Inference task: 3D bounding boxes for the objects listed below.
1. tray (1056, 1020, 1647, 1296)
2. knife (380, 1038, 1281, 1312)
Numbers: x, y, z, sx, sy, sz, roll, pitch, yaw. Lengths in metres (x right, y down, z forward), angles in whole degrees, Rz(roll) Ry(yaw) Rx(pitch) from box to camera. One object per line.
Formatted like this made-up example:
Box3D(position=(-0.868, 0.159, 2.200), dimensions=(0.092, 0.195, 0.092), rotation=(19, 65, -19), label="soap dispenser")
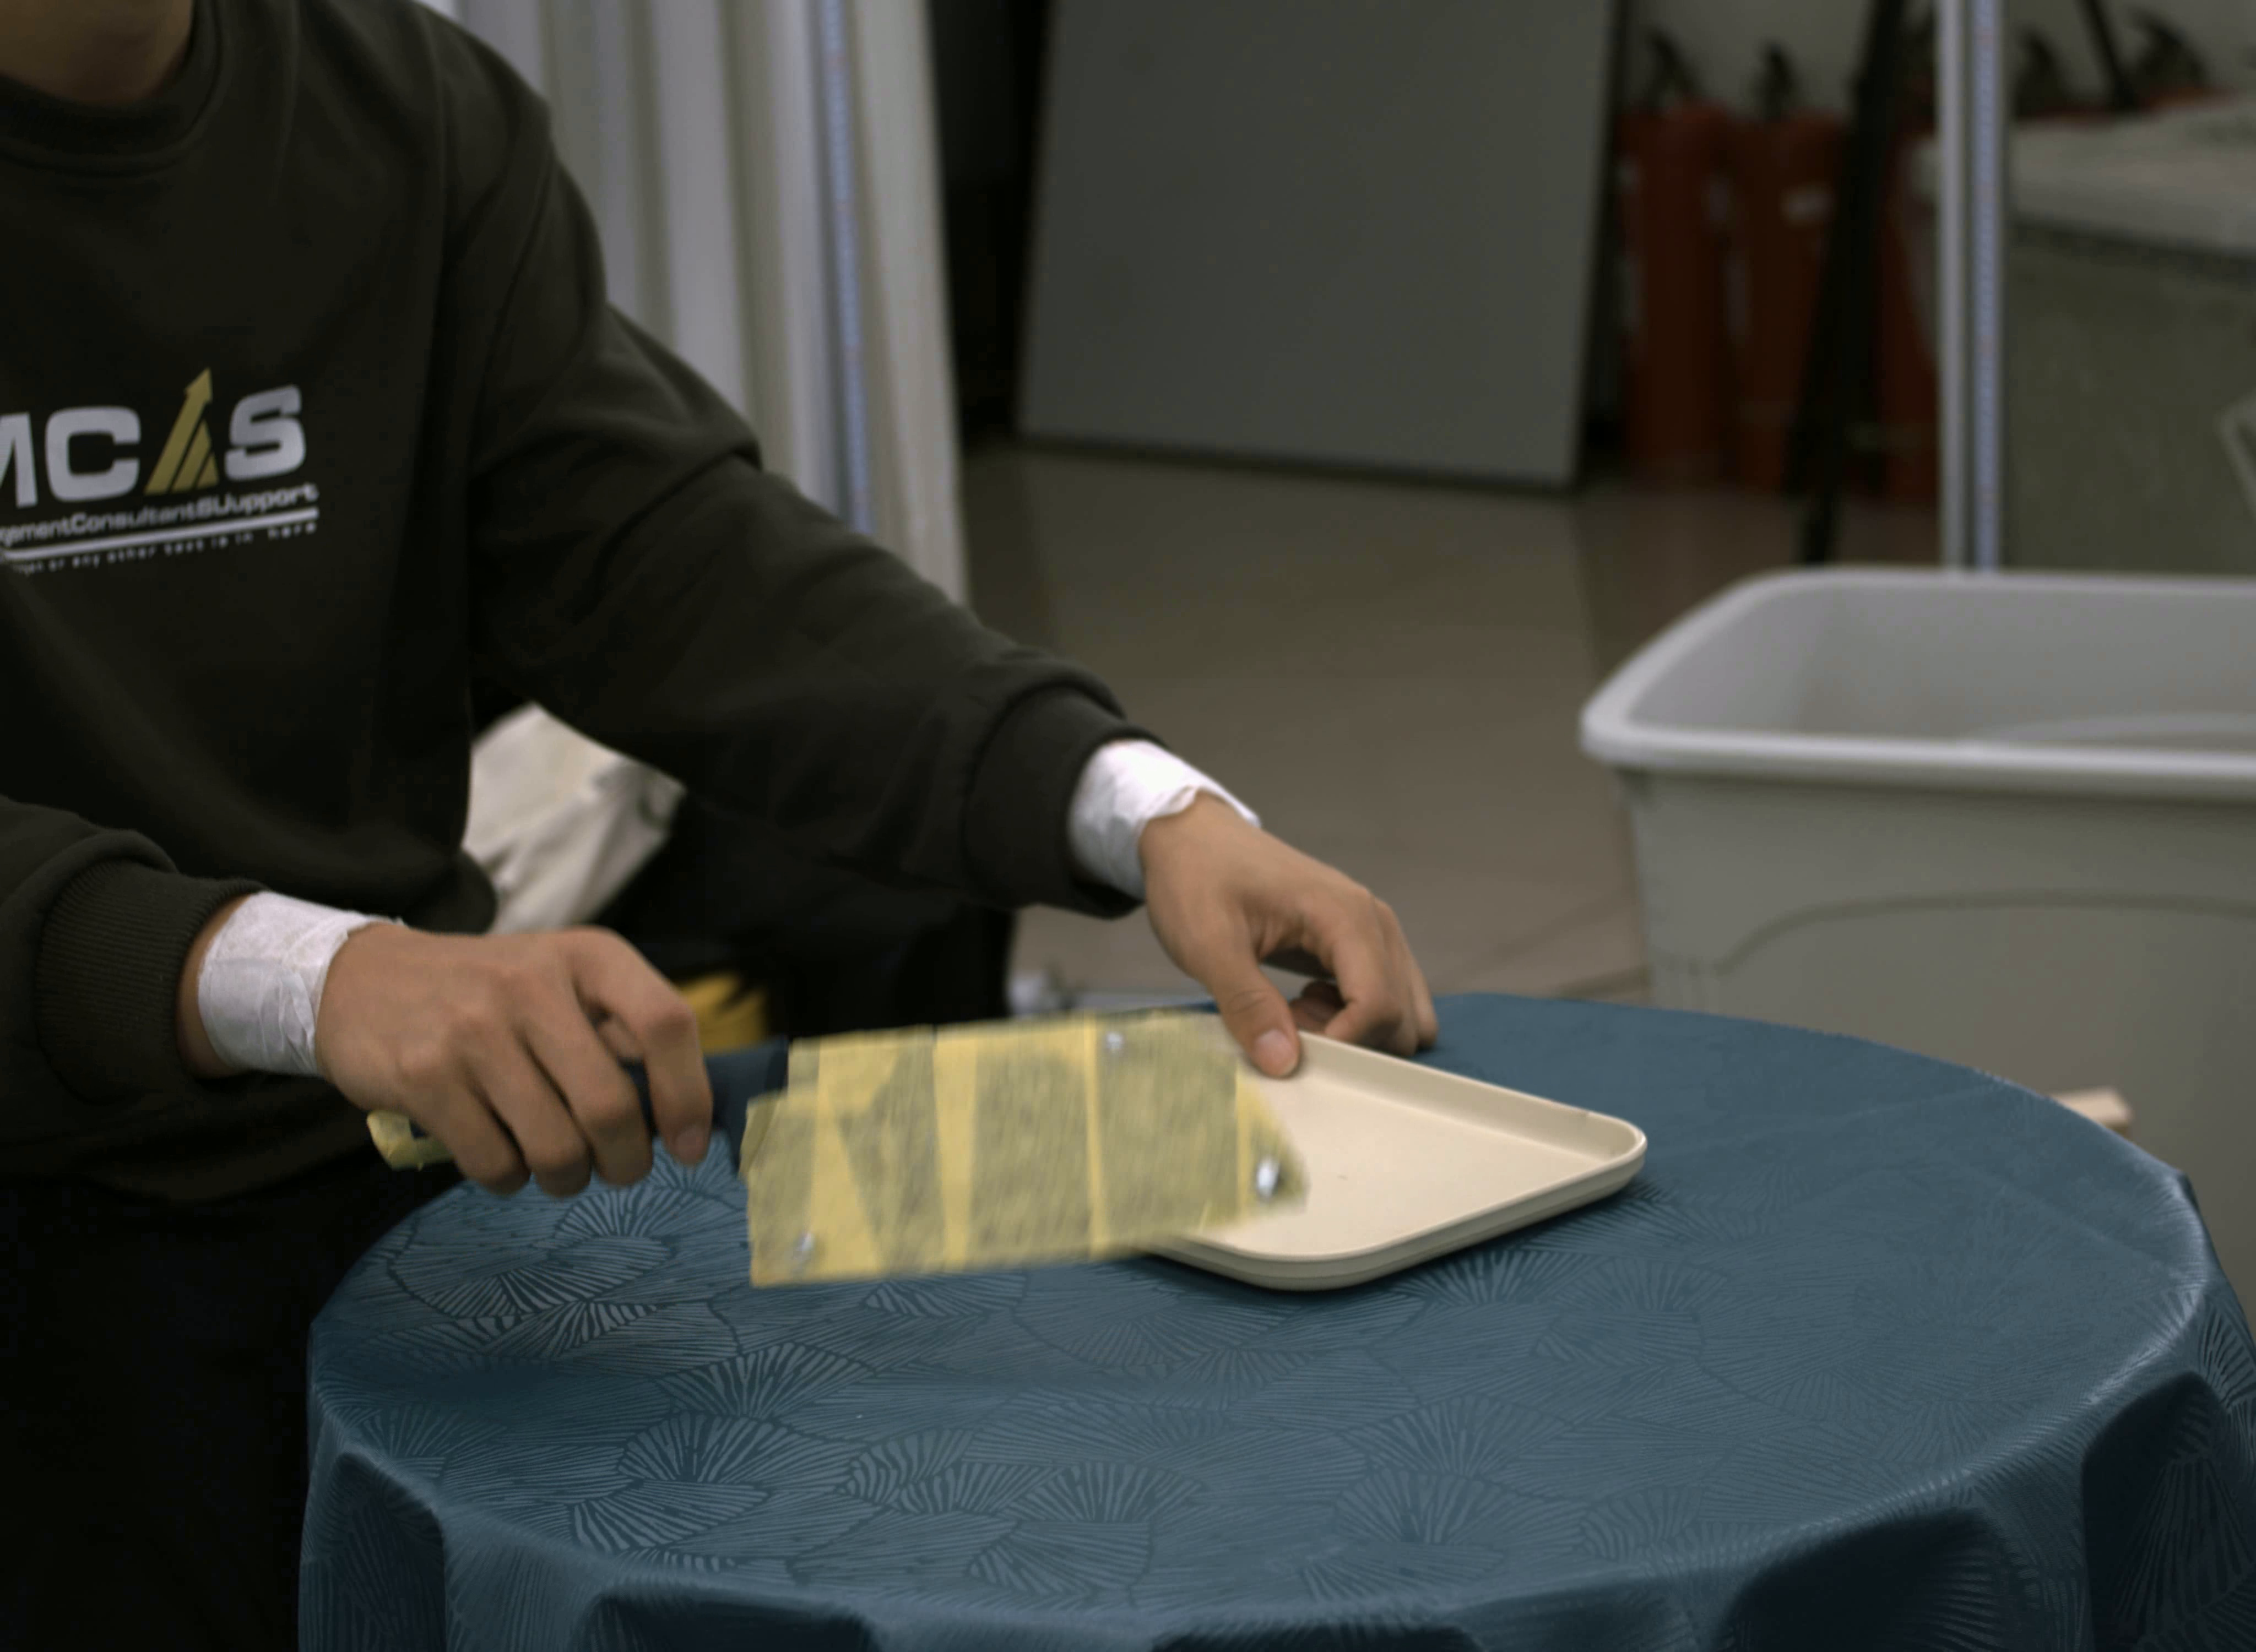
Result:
Box3D(position=(0.042, 0.108, 1.777), dimensions=(0.167, 0.017, 0.242), rotation=(-16, 18, -37), label="tray")
Box3D(position=(-0.091, 0.105, 1.613), dimensions=(0.289, 0.082, 0.027), rotation=(-3, -20, 18), label="knife")
